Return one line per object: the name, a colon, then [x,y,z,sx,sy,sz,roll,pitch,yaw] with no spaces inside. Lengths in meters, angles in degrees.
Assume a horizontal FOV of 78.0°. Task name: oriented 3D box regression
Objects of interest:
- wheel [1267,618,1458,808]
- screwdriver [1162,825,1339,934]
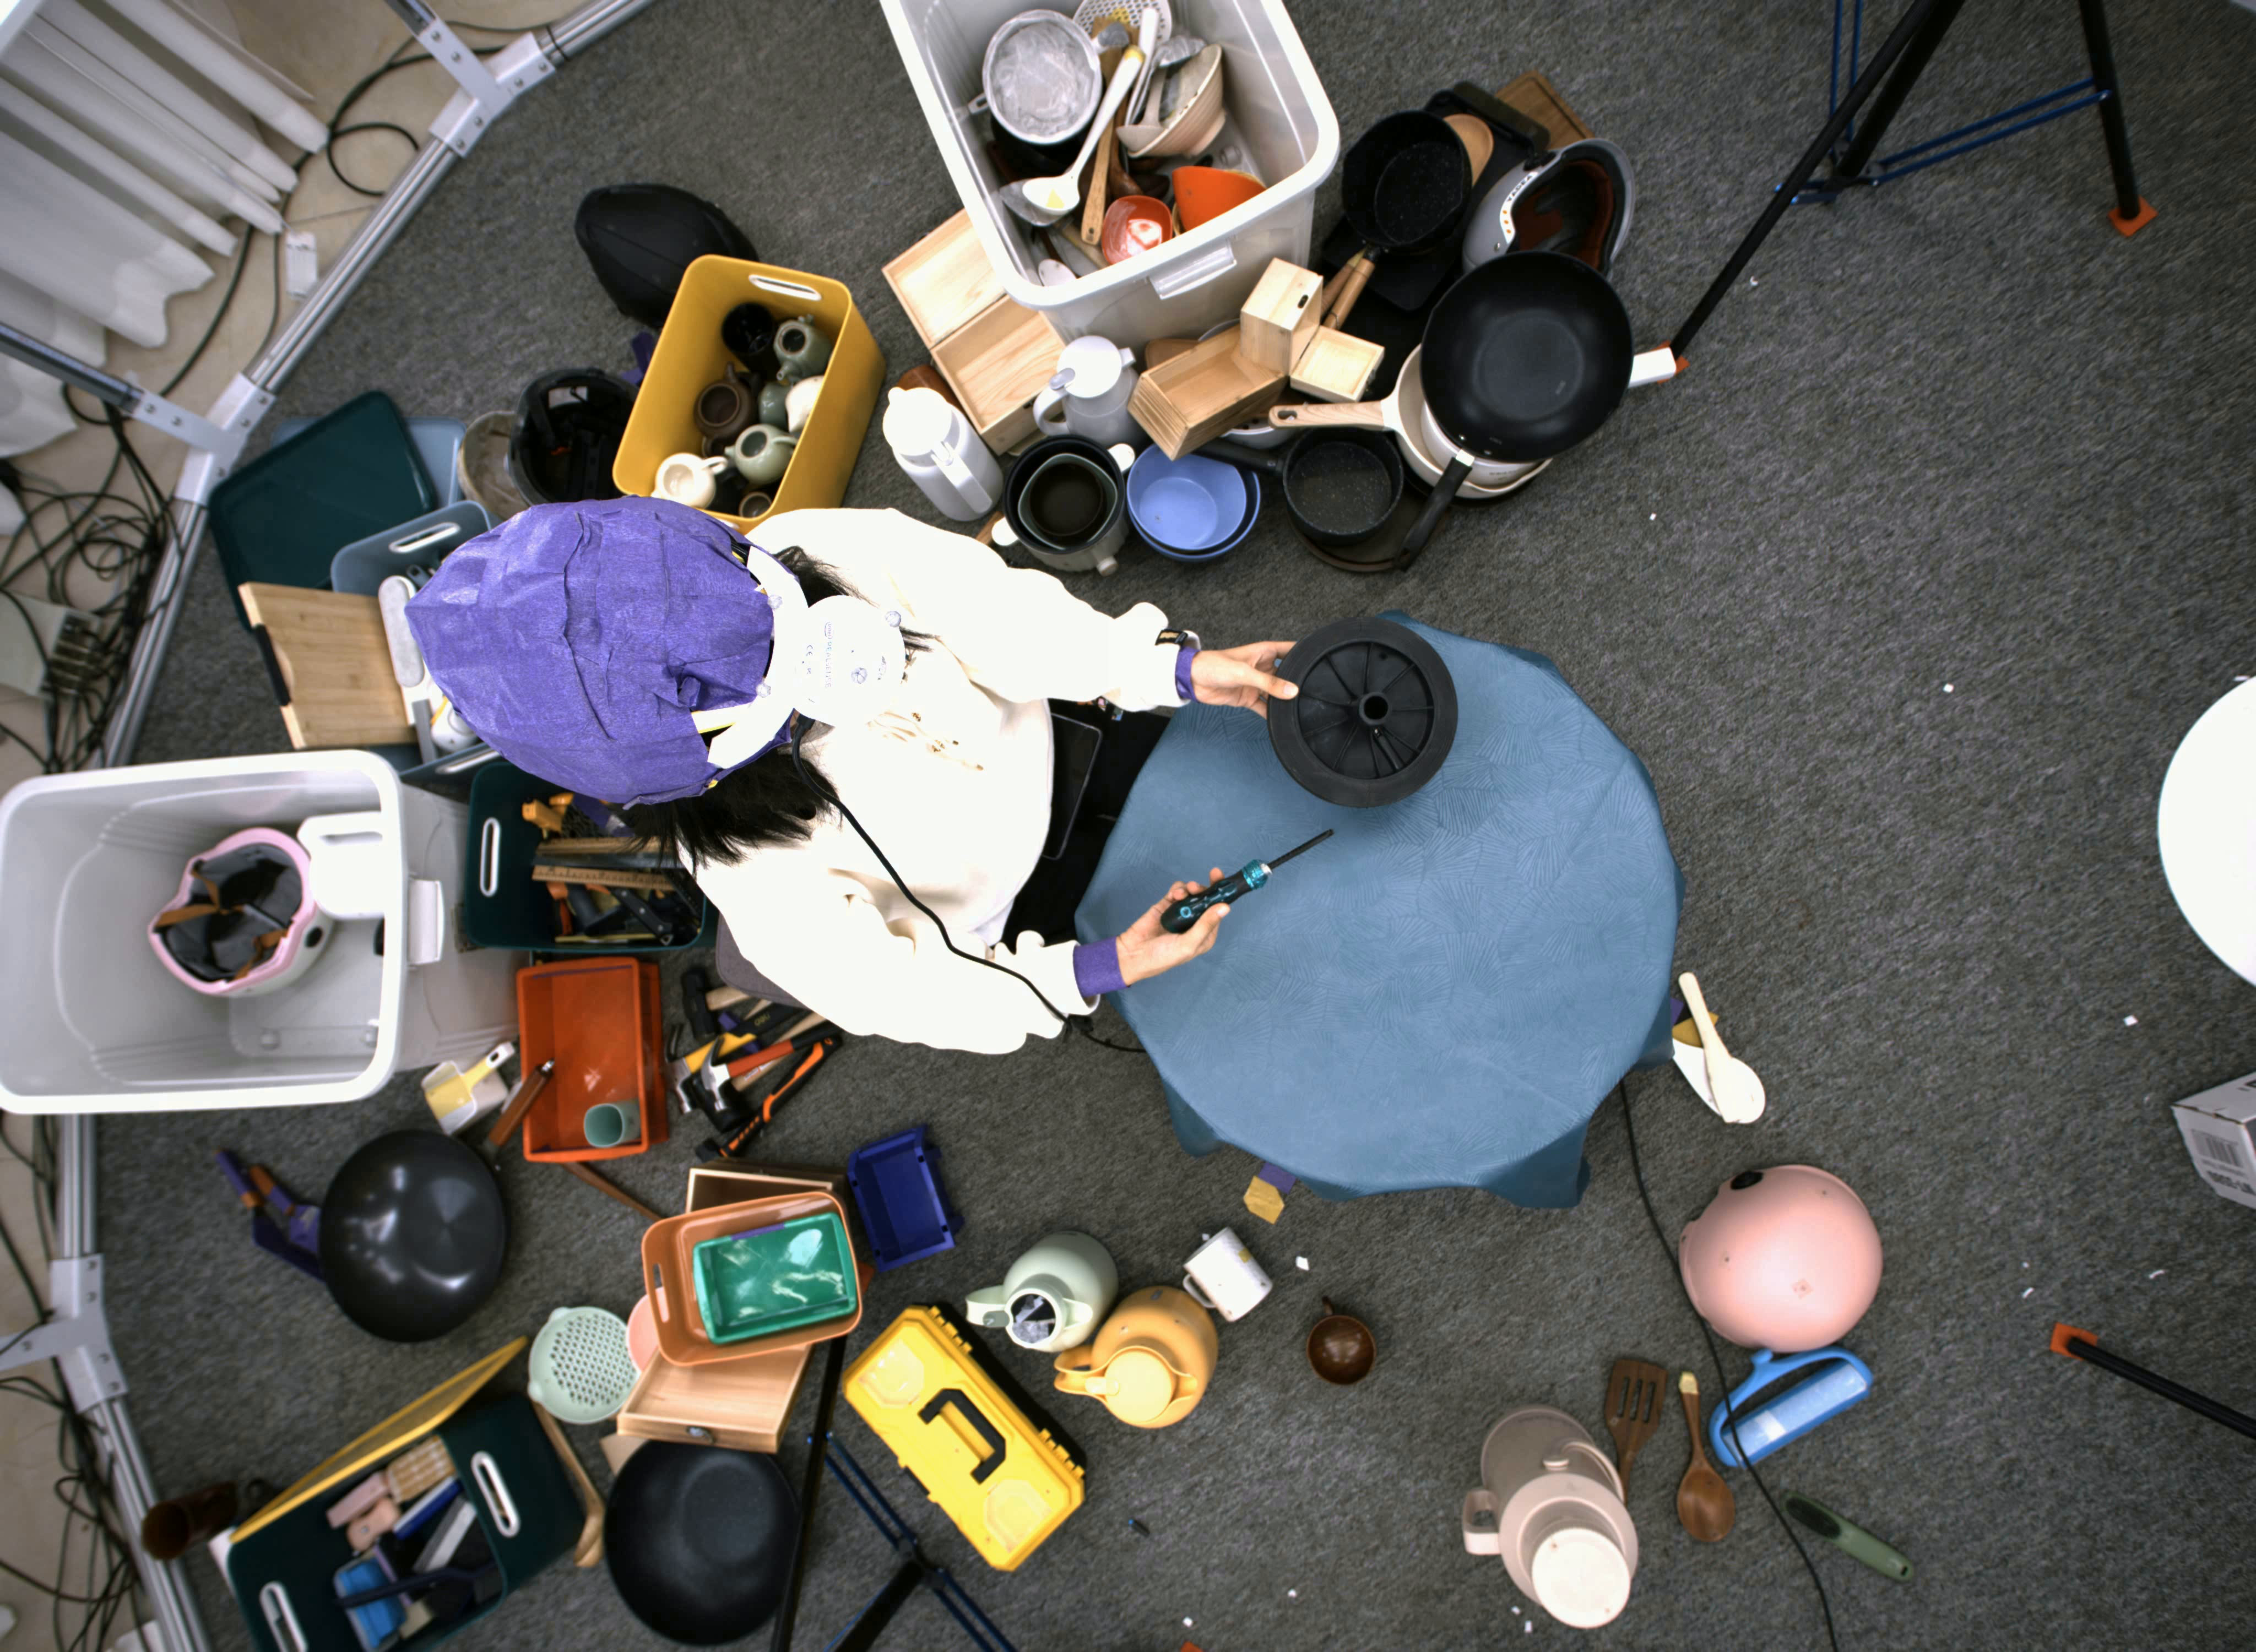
wheel: [0.233,-0.111,1.331,0.190,0.079,0.187,32,91,-5]
screwdriver: [0.117,0.047,1.319,0.192,0.033,0.033,-31,81,13]
